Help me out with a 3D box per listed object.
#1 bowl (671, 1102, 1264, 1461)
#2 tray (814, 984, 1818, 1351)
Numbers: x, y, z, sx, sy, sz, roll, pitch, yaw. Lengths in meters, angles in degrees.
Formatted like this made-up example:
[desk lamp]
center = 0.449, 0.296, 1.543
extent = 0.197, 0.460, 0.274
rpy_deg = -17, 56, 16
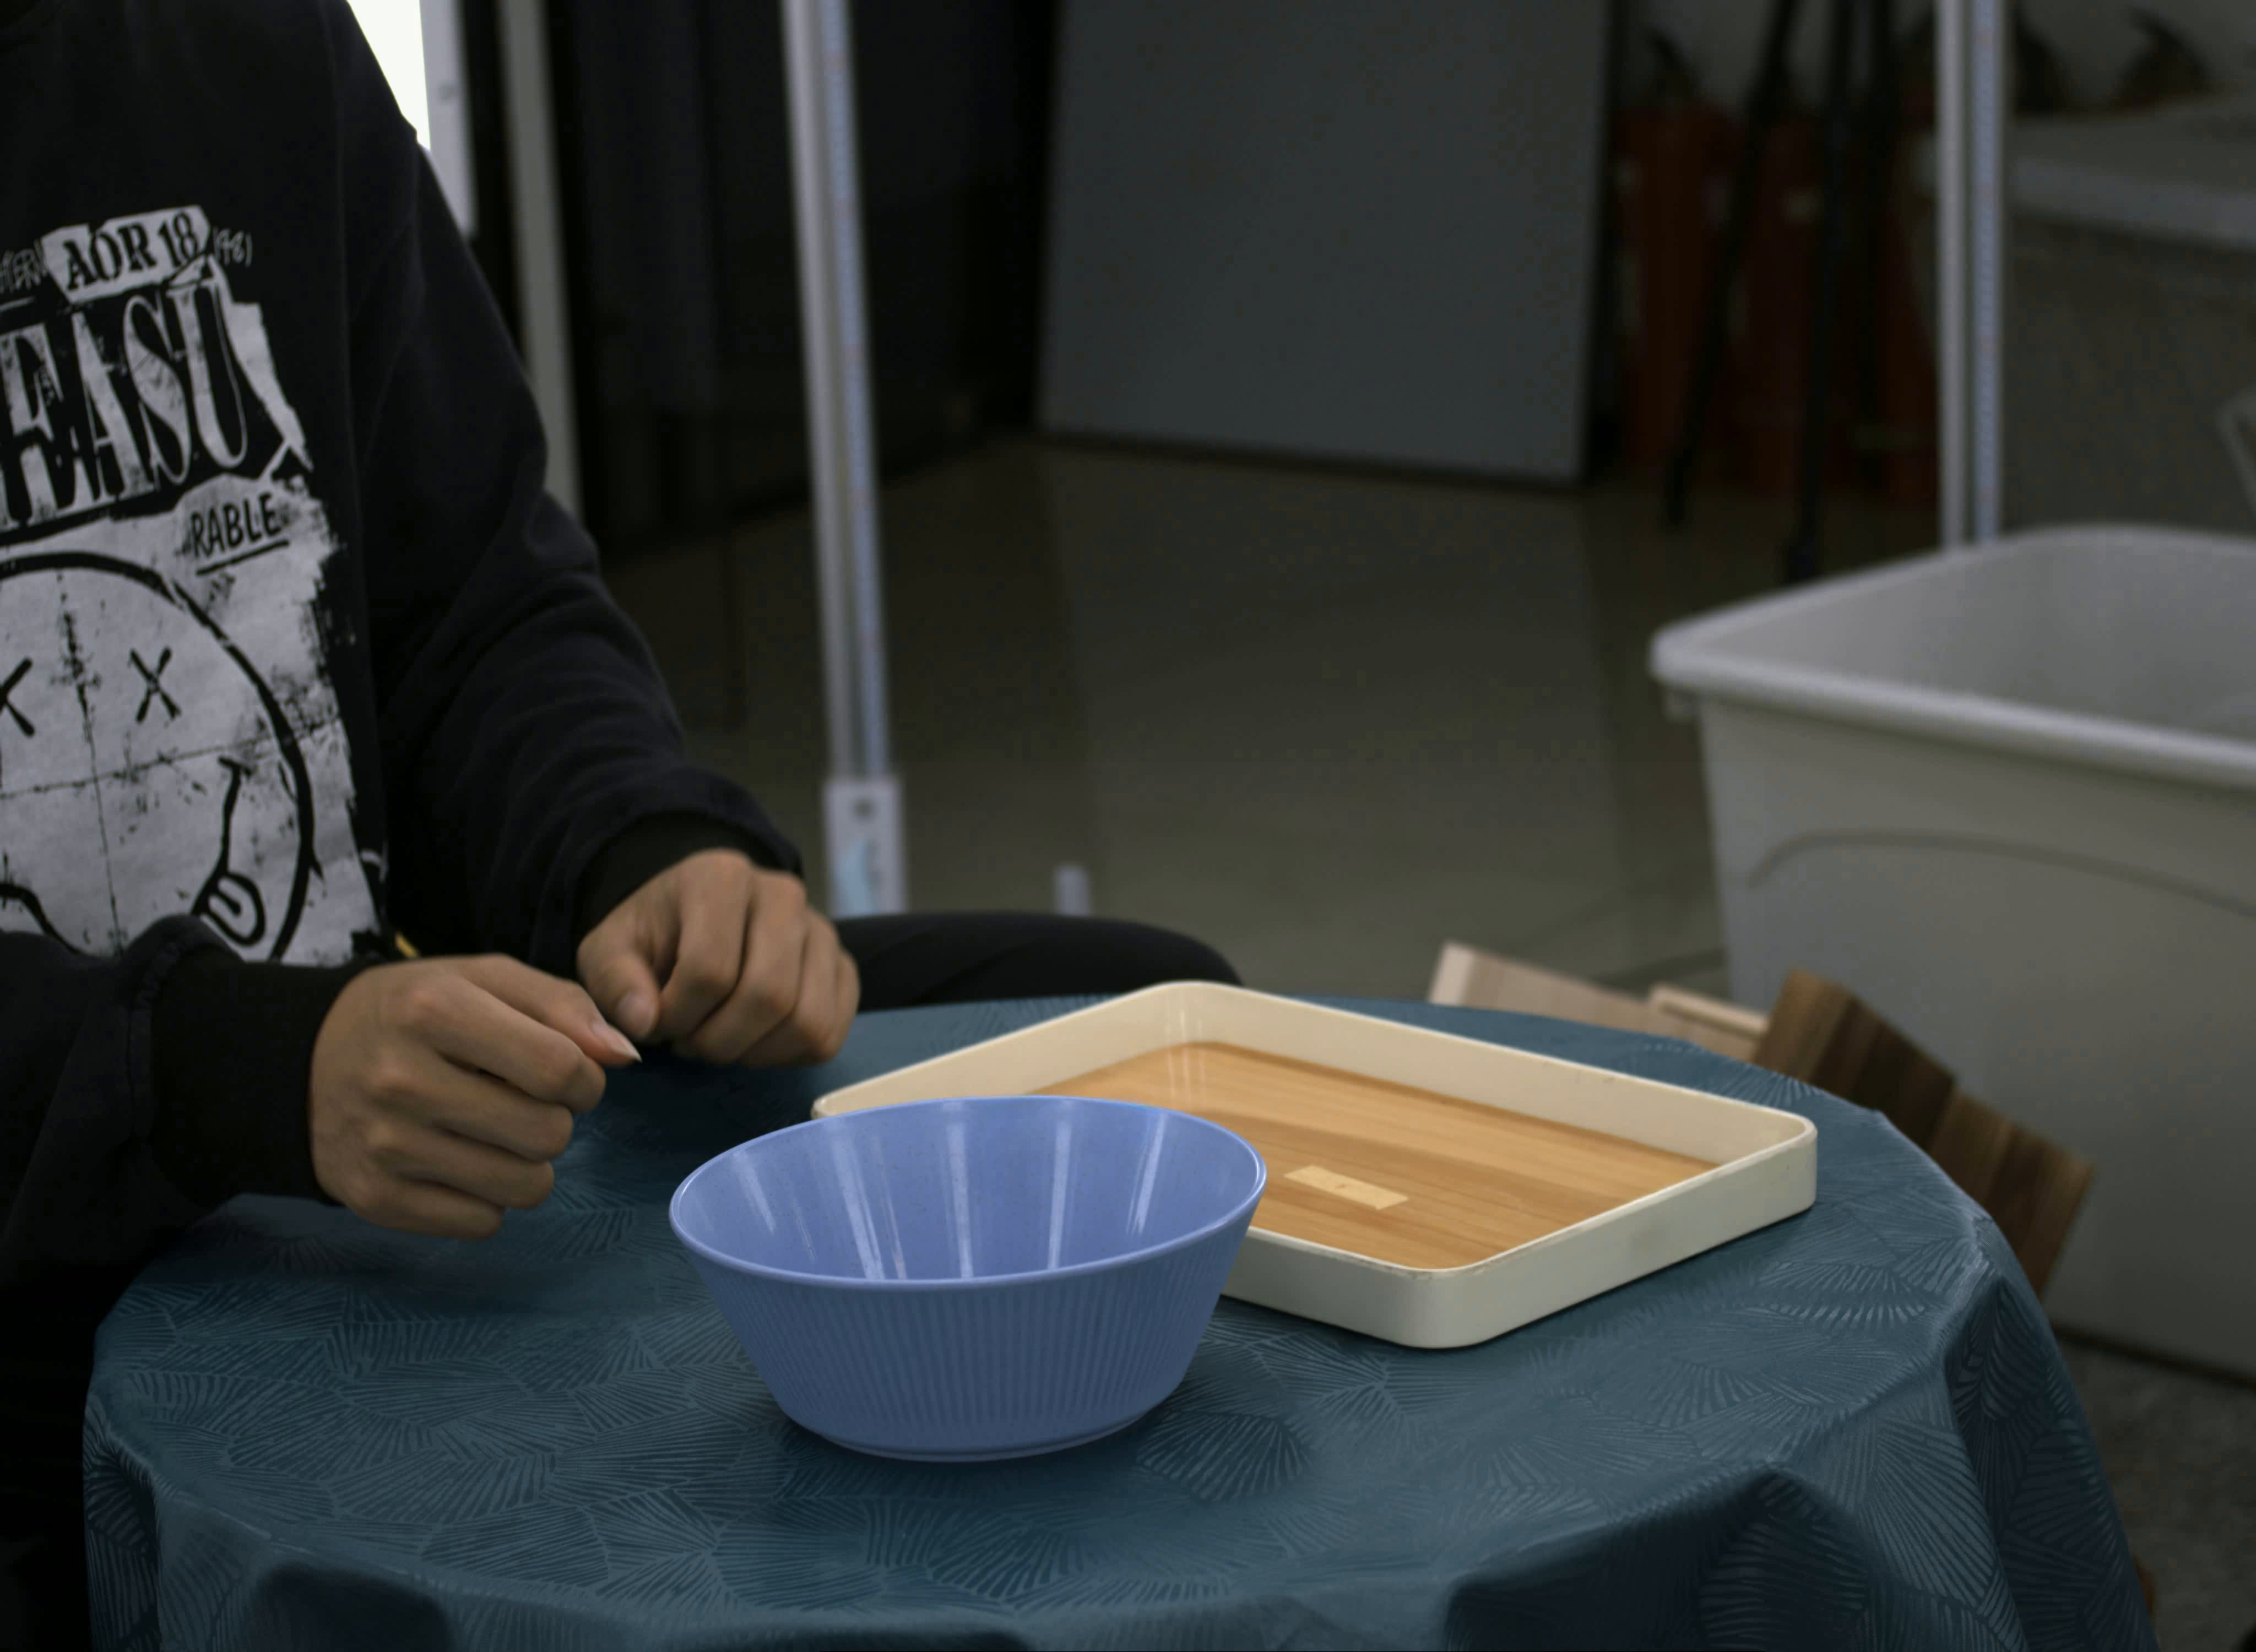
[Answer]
[bowl]
center = -0.045, 0.135, 1.578
extent = 0.174, 0.071, 0.176
rpy_deg = -3, 13, 0
[tray]
center = 0.058, 0.107, 1.757
extent = 0.187, 0.028, 0.303
rpy_deg = -17, 19, -41
